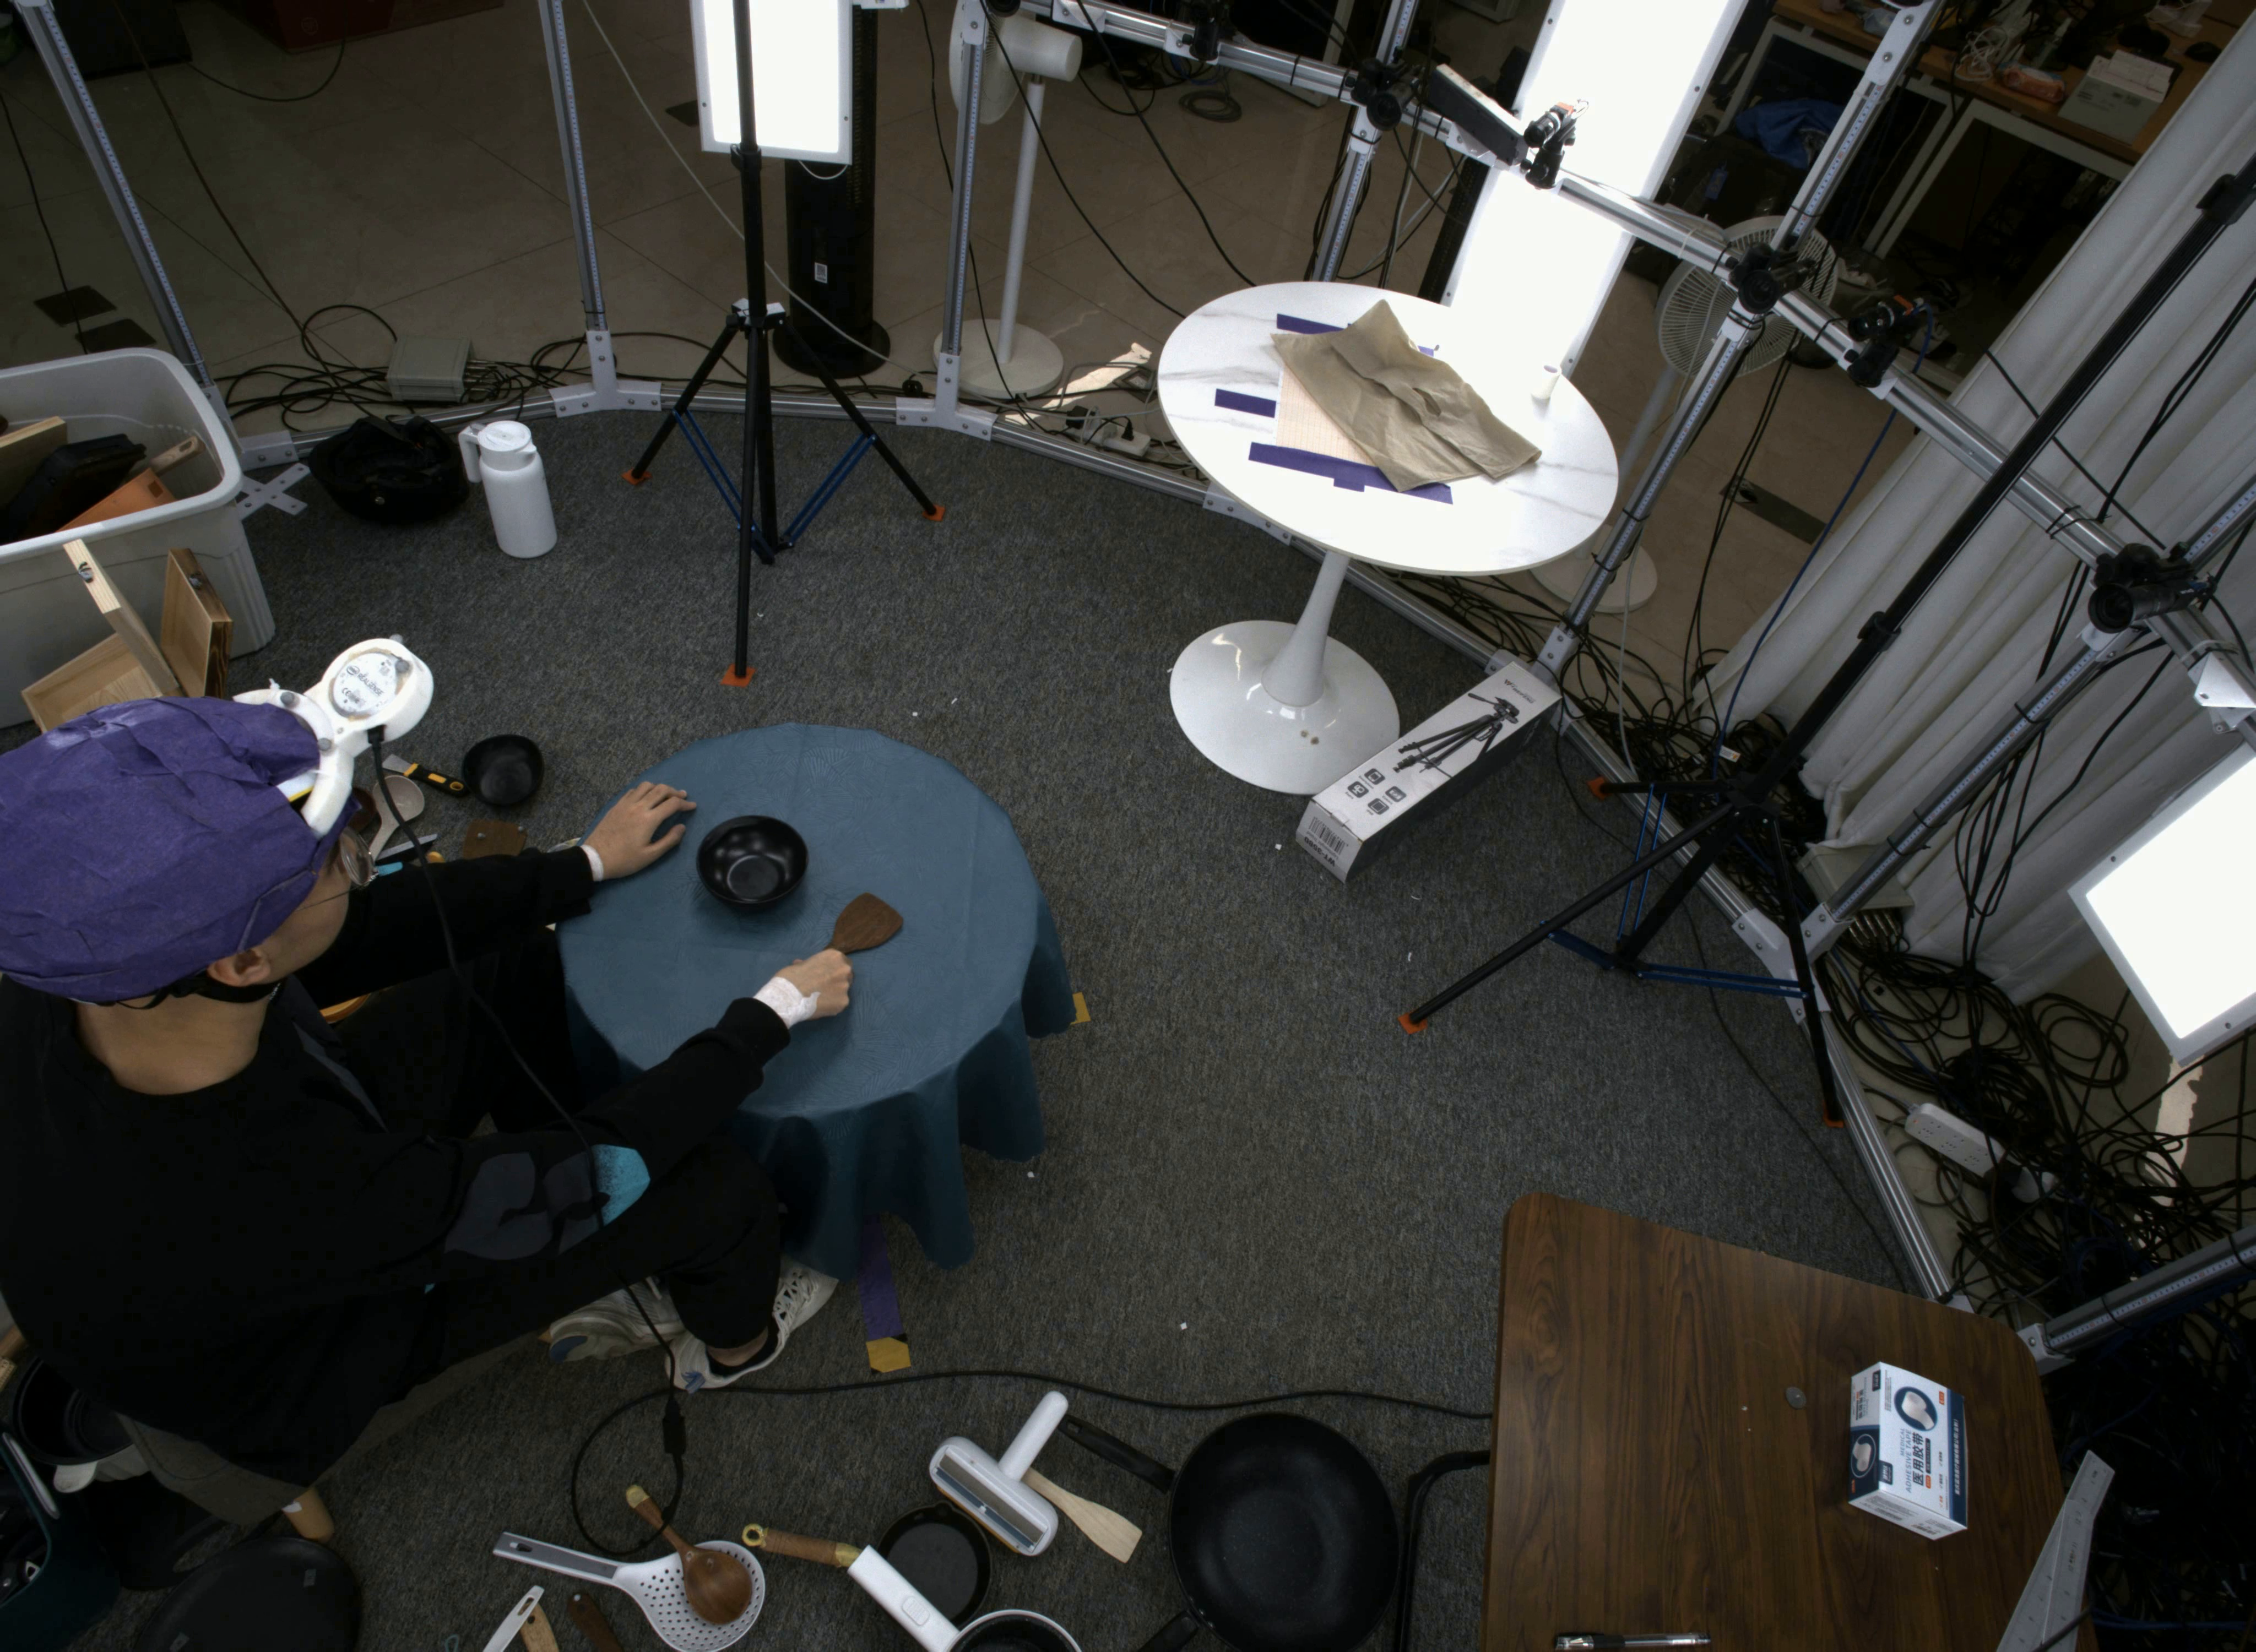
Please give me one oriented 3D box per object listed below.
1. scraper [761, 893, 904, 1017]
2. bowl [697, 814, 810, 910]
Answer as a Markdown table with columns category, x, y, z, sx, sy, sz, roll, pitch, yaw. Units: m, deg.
| category | x | y | z | sx | sy | sz | roll | pitch | yaw |
| --- | --- | --- | --- | --- | --- | --- | --- | --- | --- |
| scraper | -0.373 | 0.161 | 1.617 | 0.074 | 0.011 | 0.211 | 35 | 54 | 15 |
| bowl | -0.476 | 0.052 | 1.644 | 0.140 | 0.050 | 0.137 | 10 | 52 | -11 |
